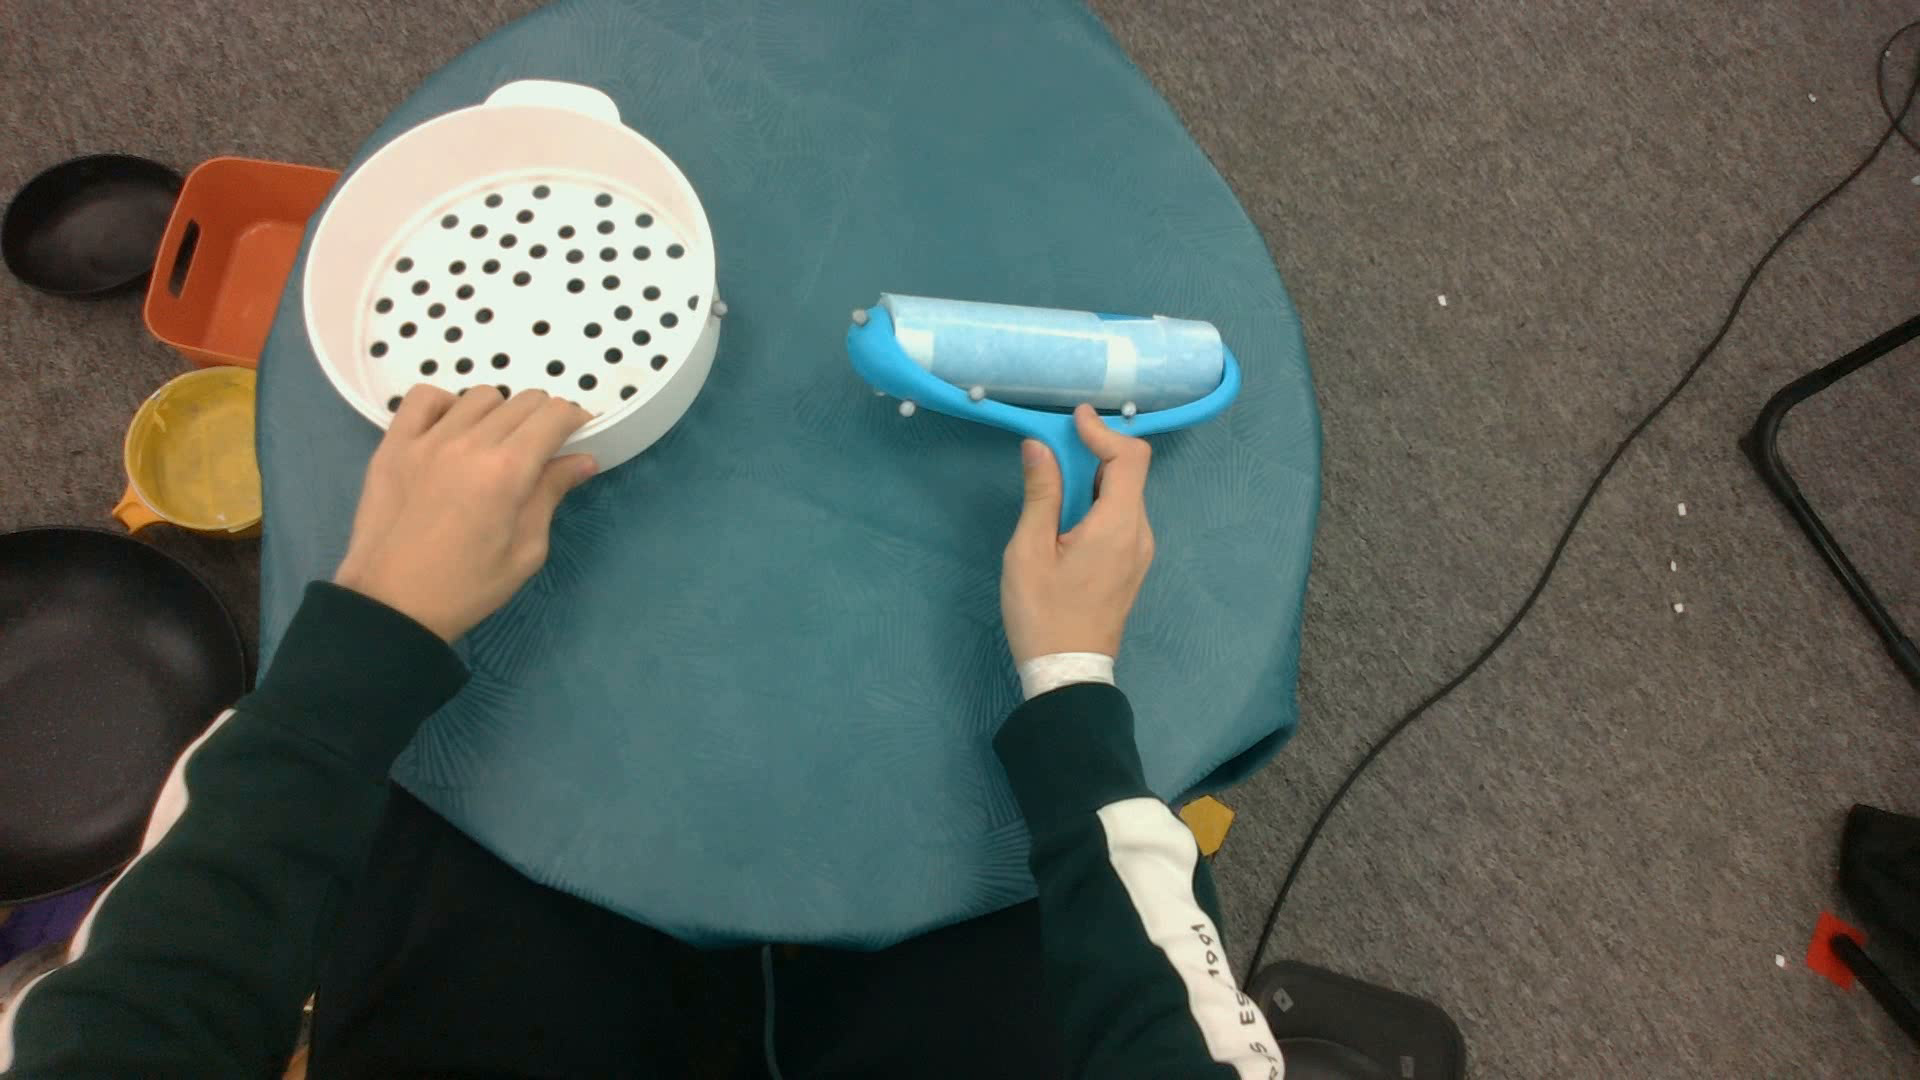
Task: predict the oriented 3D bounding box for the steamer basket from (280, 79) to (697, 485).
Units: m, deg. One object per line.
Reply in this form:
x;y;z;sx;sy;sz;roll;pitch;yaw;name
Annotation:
-0.240;-0.127;0.721;0.202;0.069;0.231;5;71;0;steamer basket

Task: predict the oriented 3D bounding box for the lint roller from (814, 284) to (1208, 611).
0.042;-0.056;0.749;0.229;0.067;0.180;-5;76;-23;lint roller
